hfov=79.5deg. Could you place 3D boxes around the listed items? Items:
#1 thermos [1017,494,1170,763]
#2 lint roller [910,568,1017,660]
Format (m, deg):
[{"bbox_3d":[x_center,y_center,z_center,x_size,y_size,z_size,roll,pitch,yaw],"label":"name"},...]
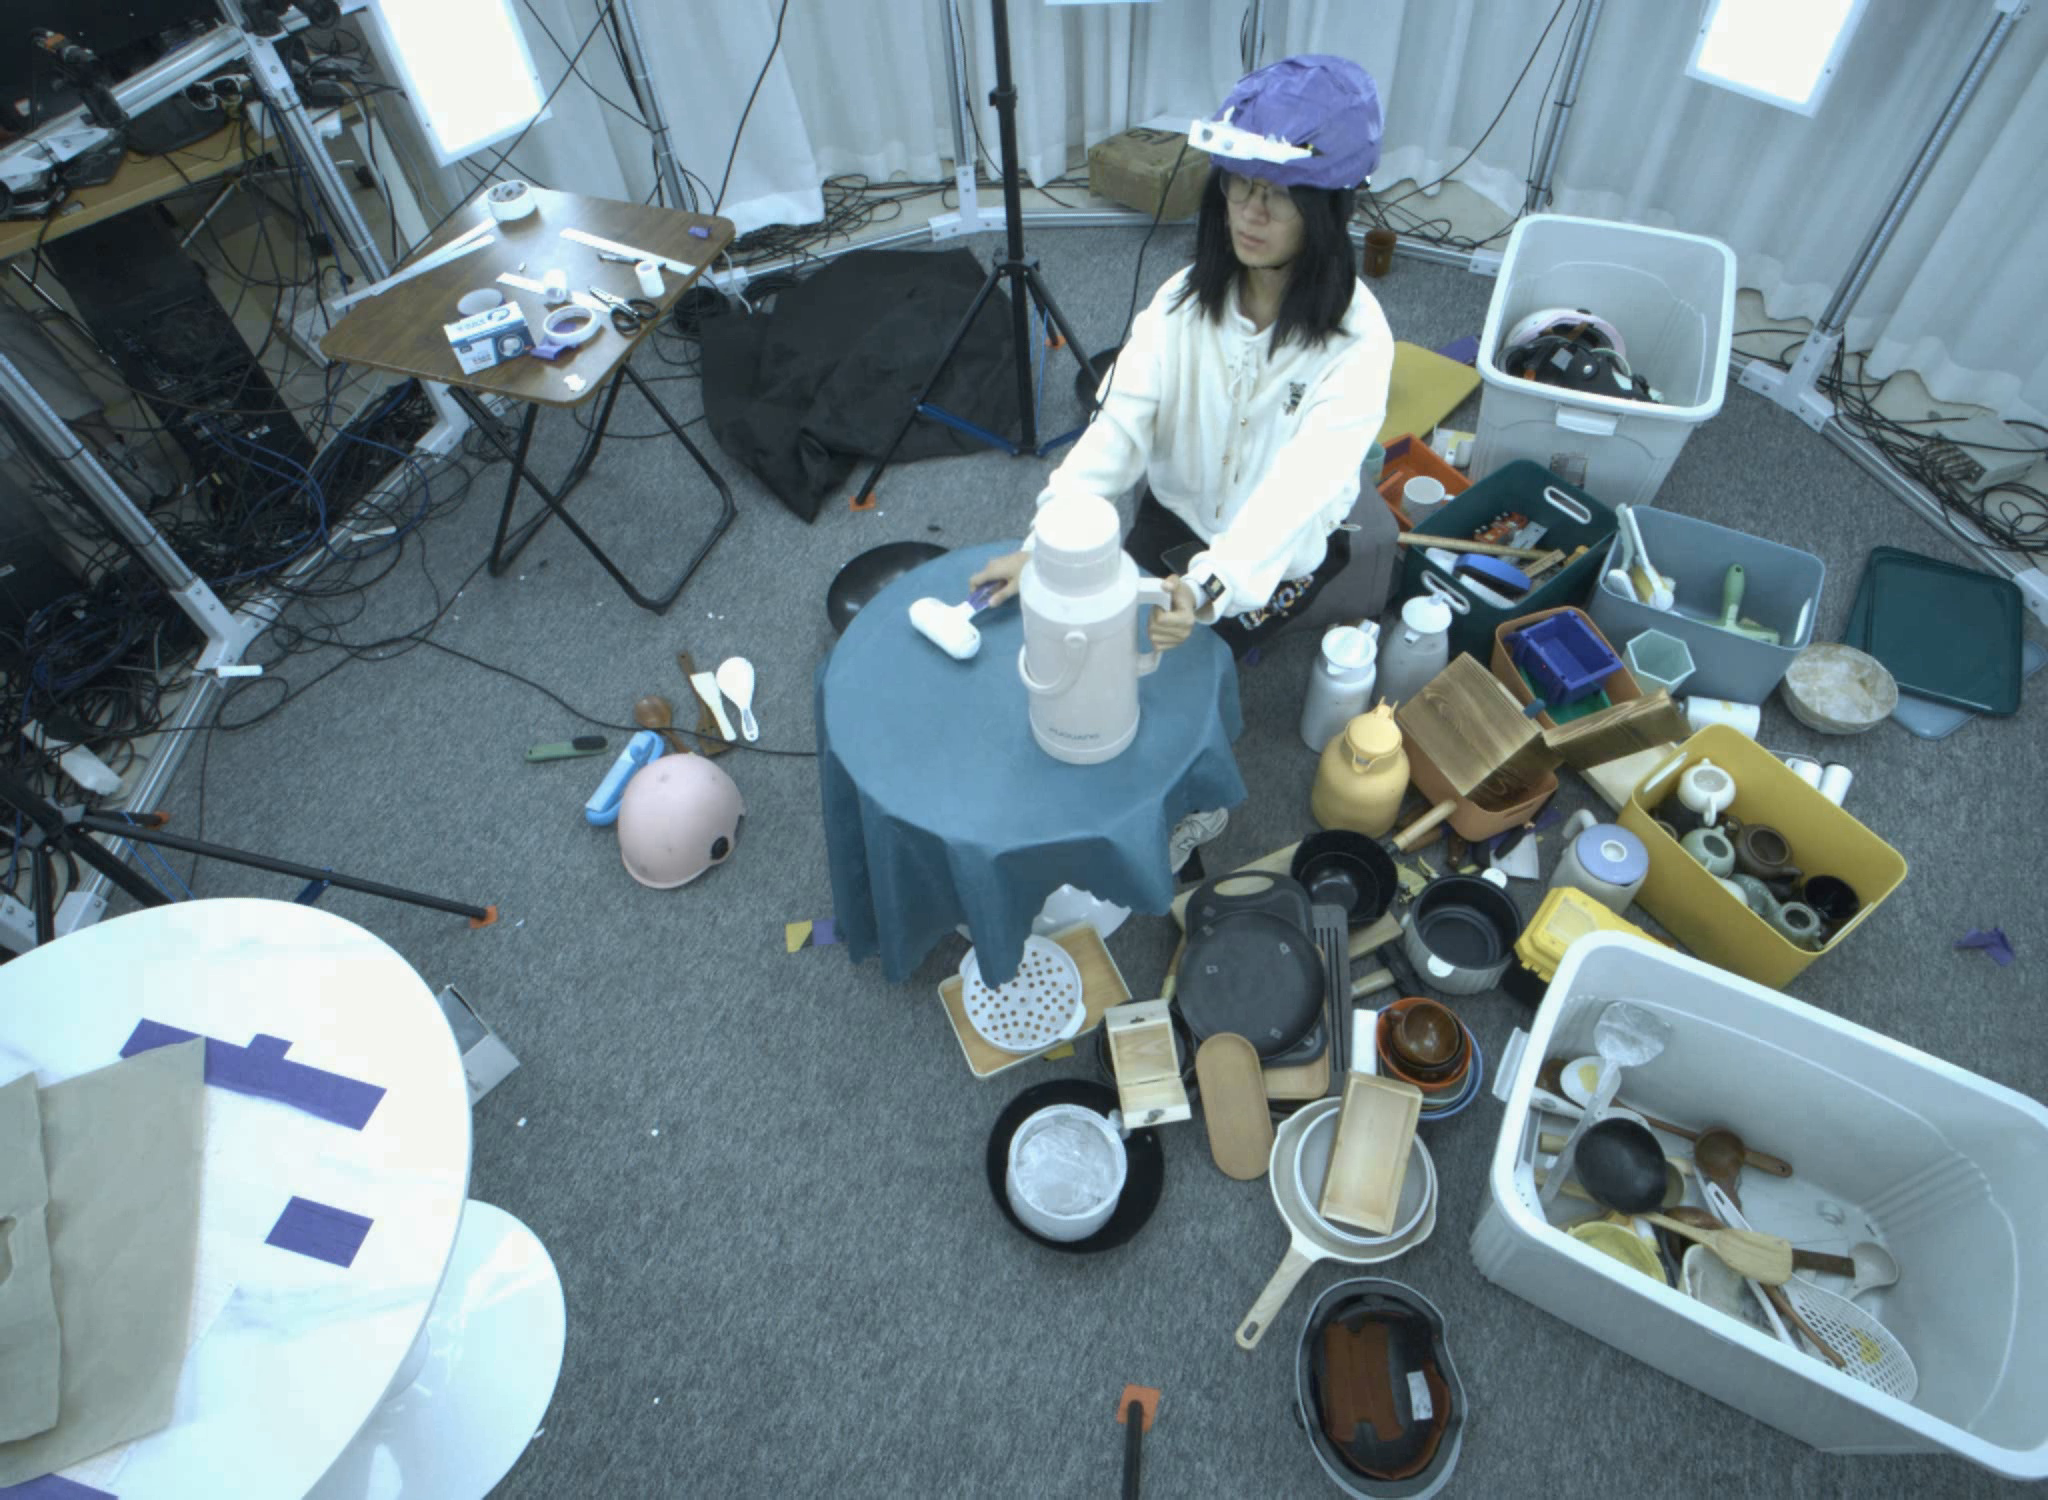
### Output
[{"bbox_3d":[0.089,-0.158,1.652,0.206,0.411,0.174,1,54,4],"label":"thermos"},{"bbox_3d":[-0.079,-0.229,1.907,0.181,0.051,0.130,-44,63,-10],"label":"lint roller"}]
